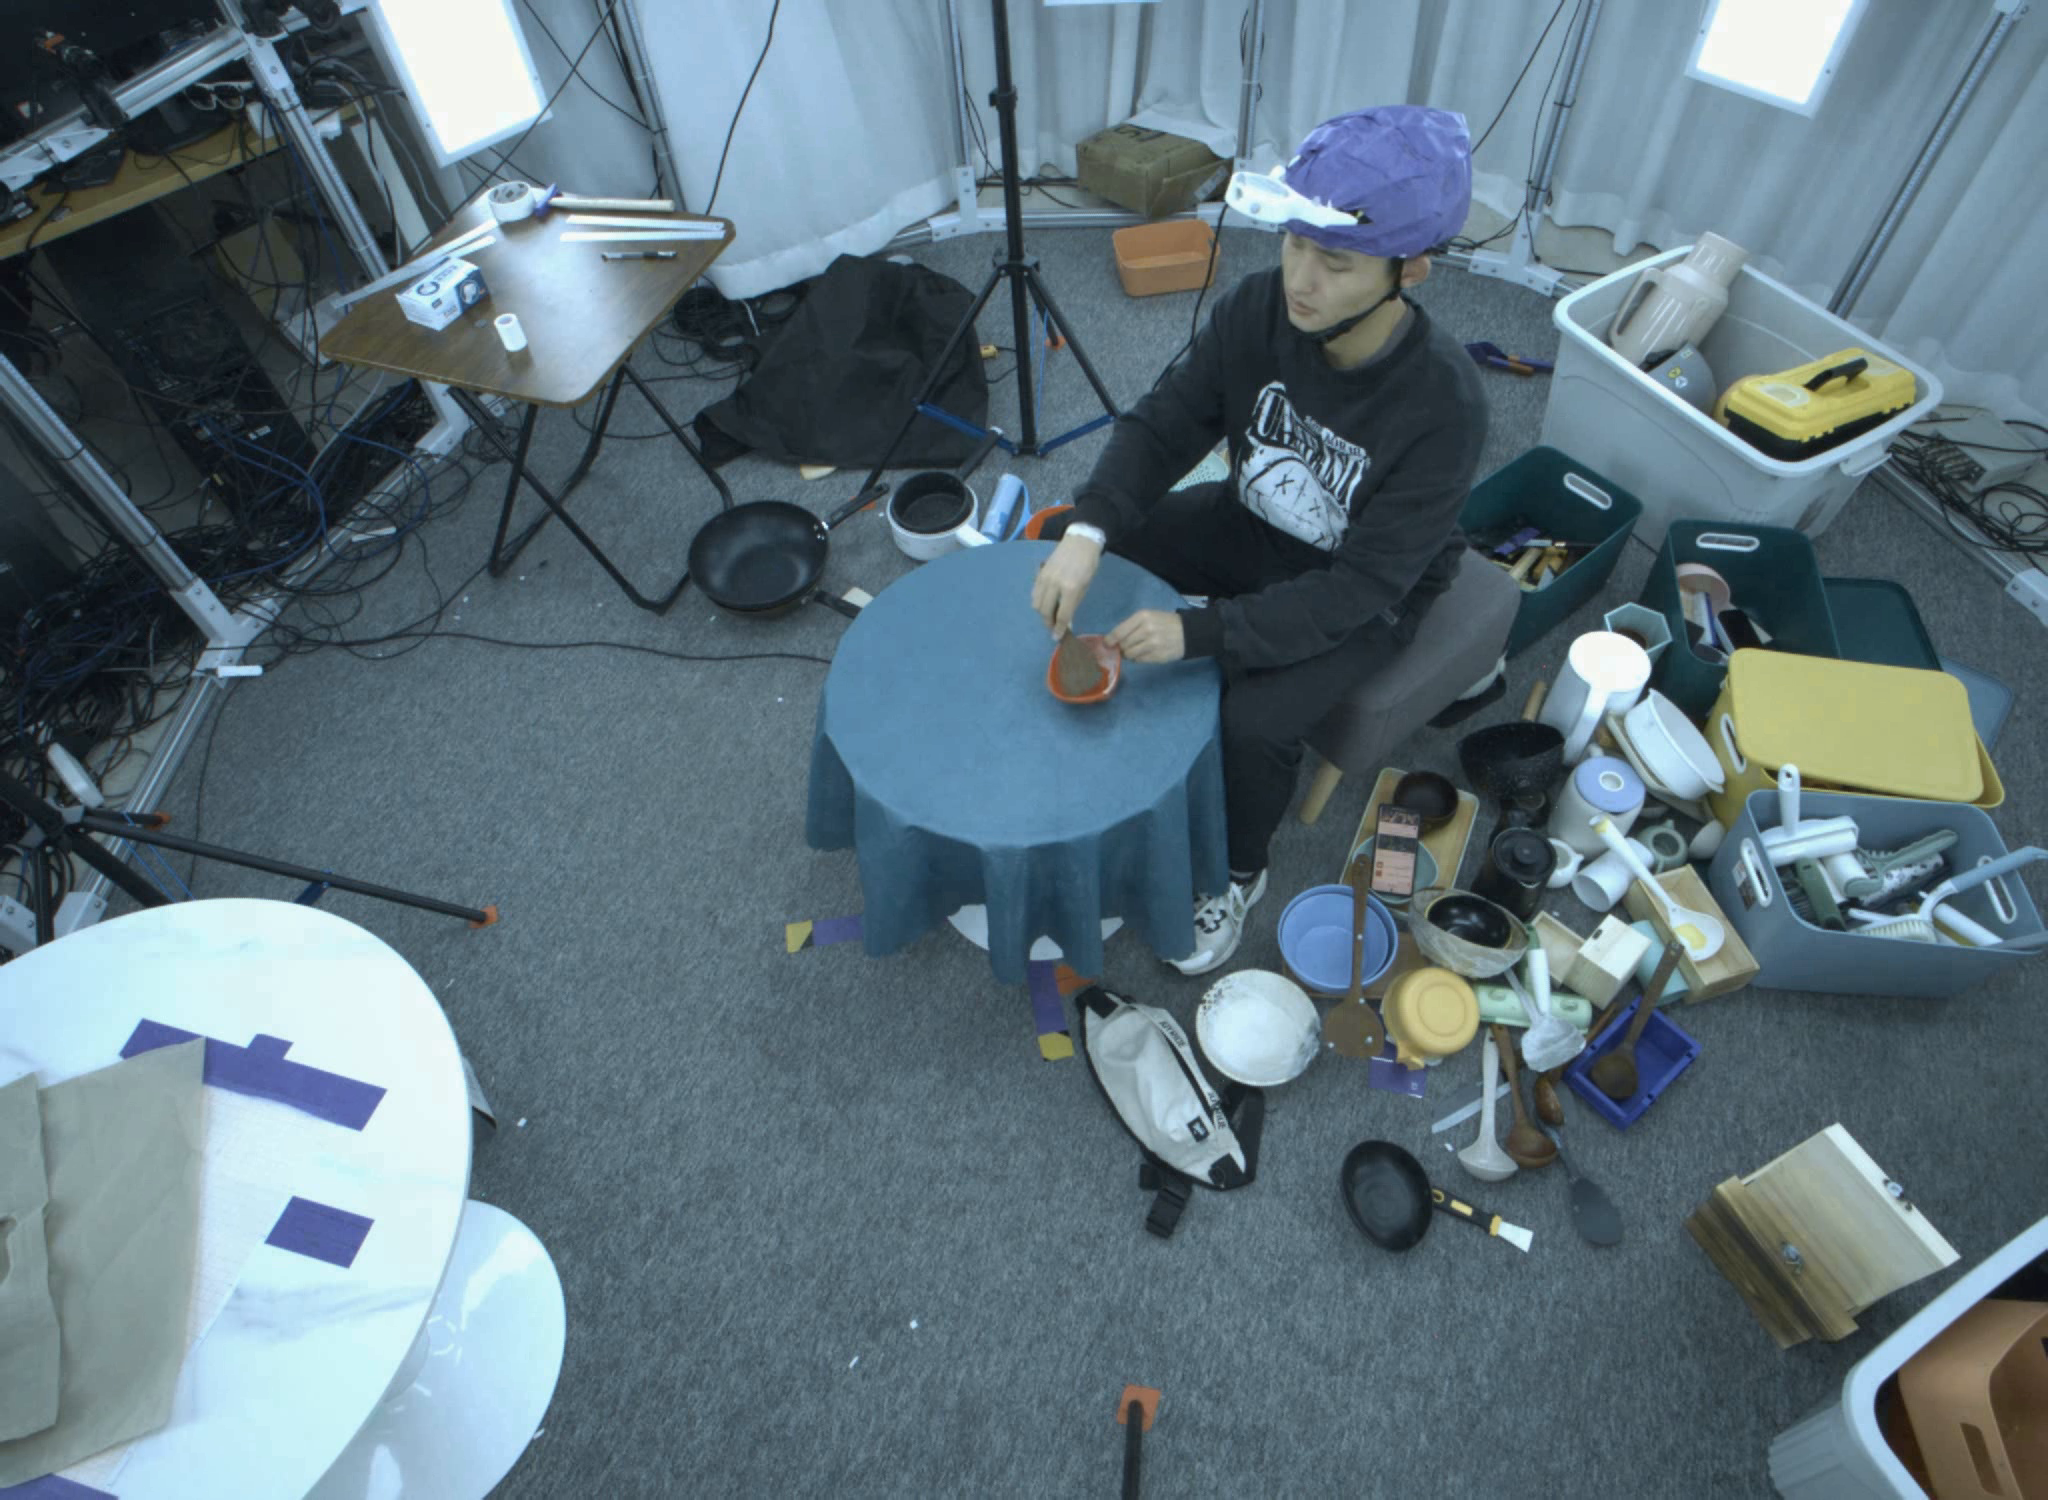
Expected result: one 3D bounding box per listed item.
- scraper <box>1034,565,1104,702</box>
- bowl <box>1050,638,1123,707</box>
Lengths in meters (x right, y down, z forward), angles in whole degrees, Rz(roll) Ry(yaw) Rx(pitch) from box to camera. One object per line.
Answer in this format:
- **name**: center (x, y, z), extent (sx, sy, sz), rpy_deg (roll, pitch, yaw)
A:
- **scraper**: center (0.059, -0.175, 1.806), extent (0.011, 0.075, 0.210), rpy_deg (-8, 74, -51)
- **bowl**: center (0.099, -0.107, 1.828), extent (0.117, 0.052, 0.118), rpy_deg (-9, 62, 18)
